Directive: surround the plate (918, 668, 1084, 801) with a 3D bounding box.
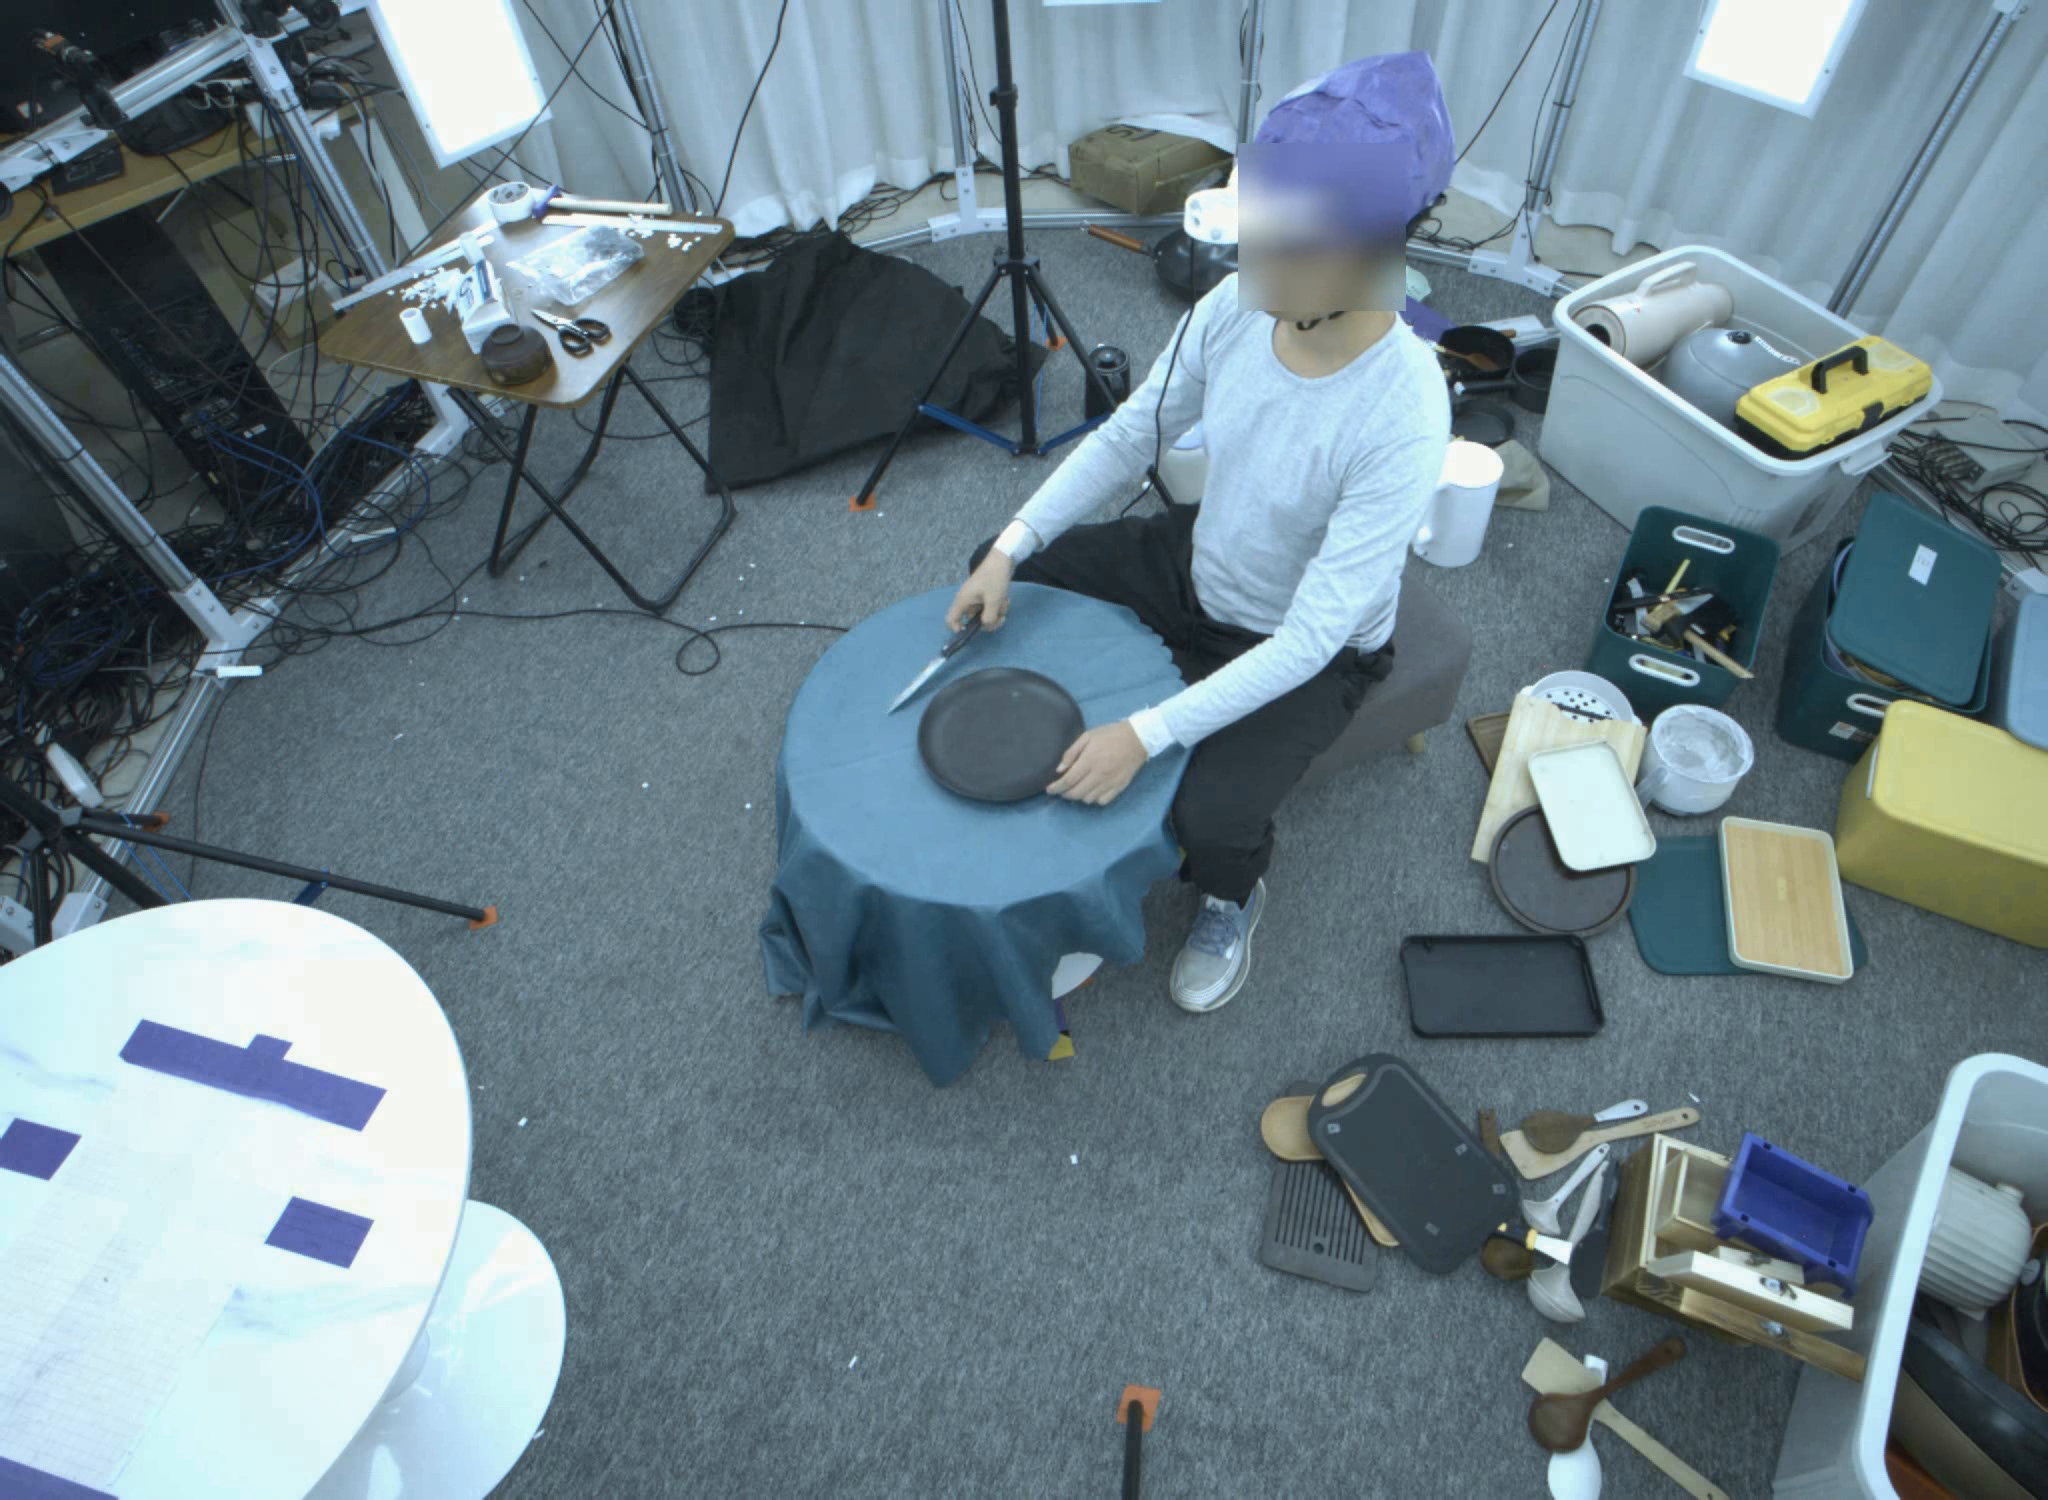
[{"bbox_3d":[-0.033,-0.022,1.798,0.244,0.023,0.242,0,54,1],"label":"plate"}]

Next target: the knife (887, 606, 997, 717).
[{"bbox_3d":[-0.128,-0.135,1.865,0.239,0.016,0.024,-47,42,-14],"label":"knife"}]
